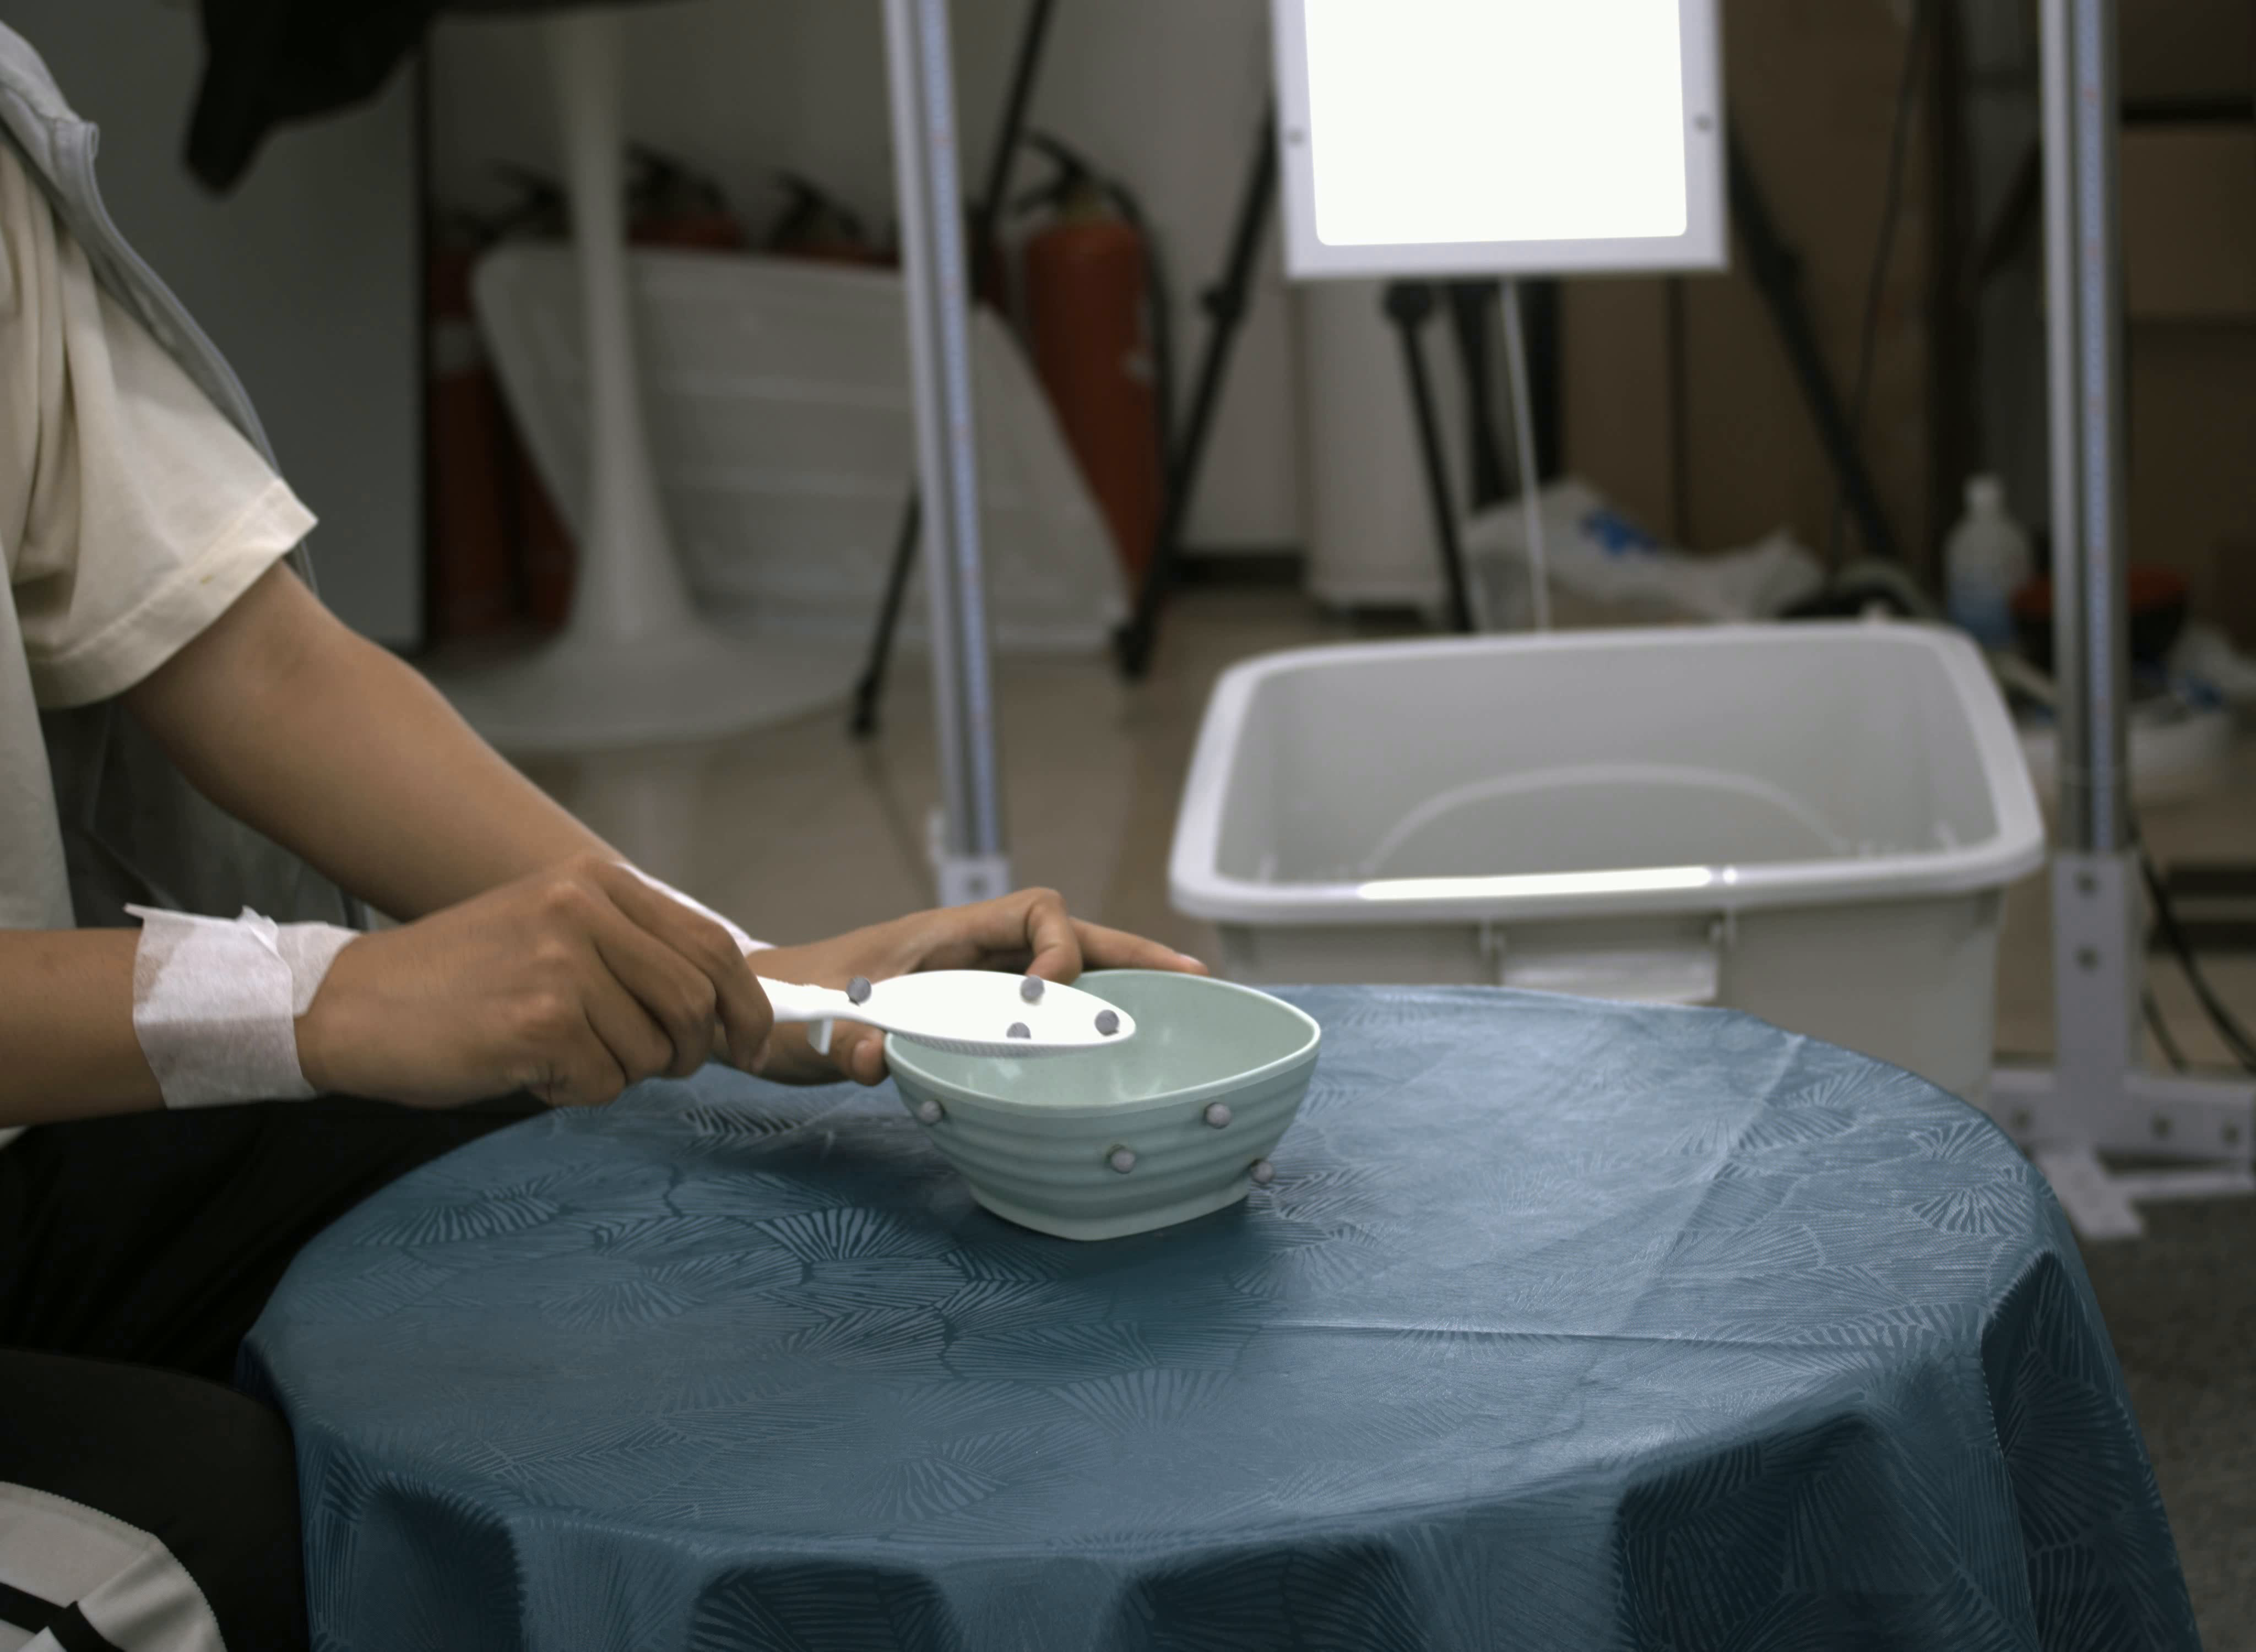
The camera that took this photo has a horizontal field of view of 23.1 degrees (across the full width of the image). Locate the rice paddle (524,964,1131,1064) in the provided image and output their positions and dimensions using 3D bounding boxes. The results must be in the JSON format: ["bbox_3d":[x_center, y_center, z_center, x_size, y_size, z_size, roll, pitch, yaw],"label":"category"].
[{"bbox_3d":[-0.092,0.058,1.761,0.201,0.029,0.069,0,20,-24],"label":"rice paddle"}]

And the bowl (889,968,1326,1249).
[{"bbox_3d":[-0.005,0.100,1.888,0.151,0.059,0.151,-5,17,0],"label":"bowl"}]
